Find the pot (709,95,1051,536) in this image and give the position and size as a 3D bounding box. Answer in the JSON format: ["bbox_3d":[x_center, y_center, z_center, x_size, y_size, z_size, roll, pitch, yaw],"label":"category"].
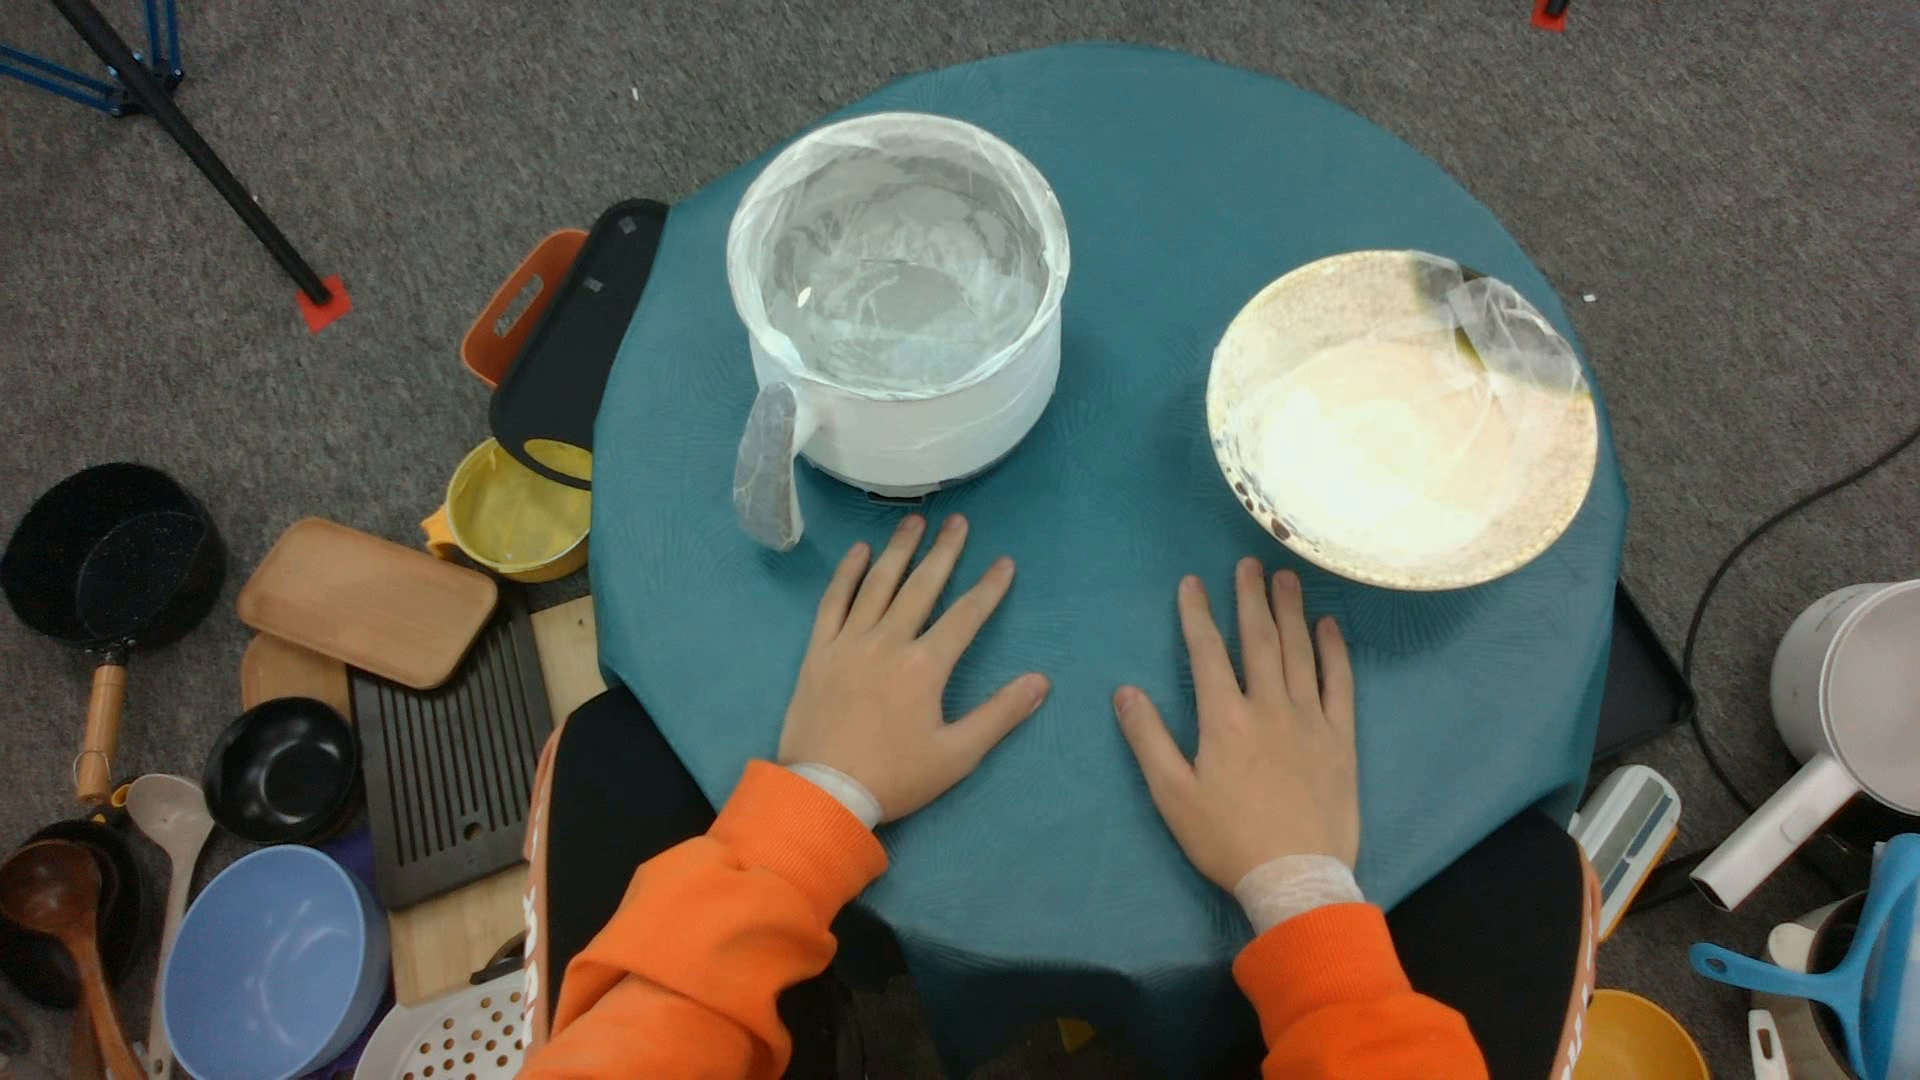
[{"bbox_3d":[-0.055,-0.112,0.757,0.179,0.136,0.234,30,70,13],"label":"pot"}]

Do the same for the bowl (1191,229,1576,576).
[{"bbox_3d":[0.227,-0.067,0.772,0.204,0.078,0.204,0,71,1],"label":"bowl"}]
